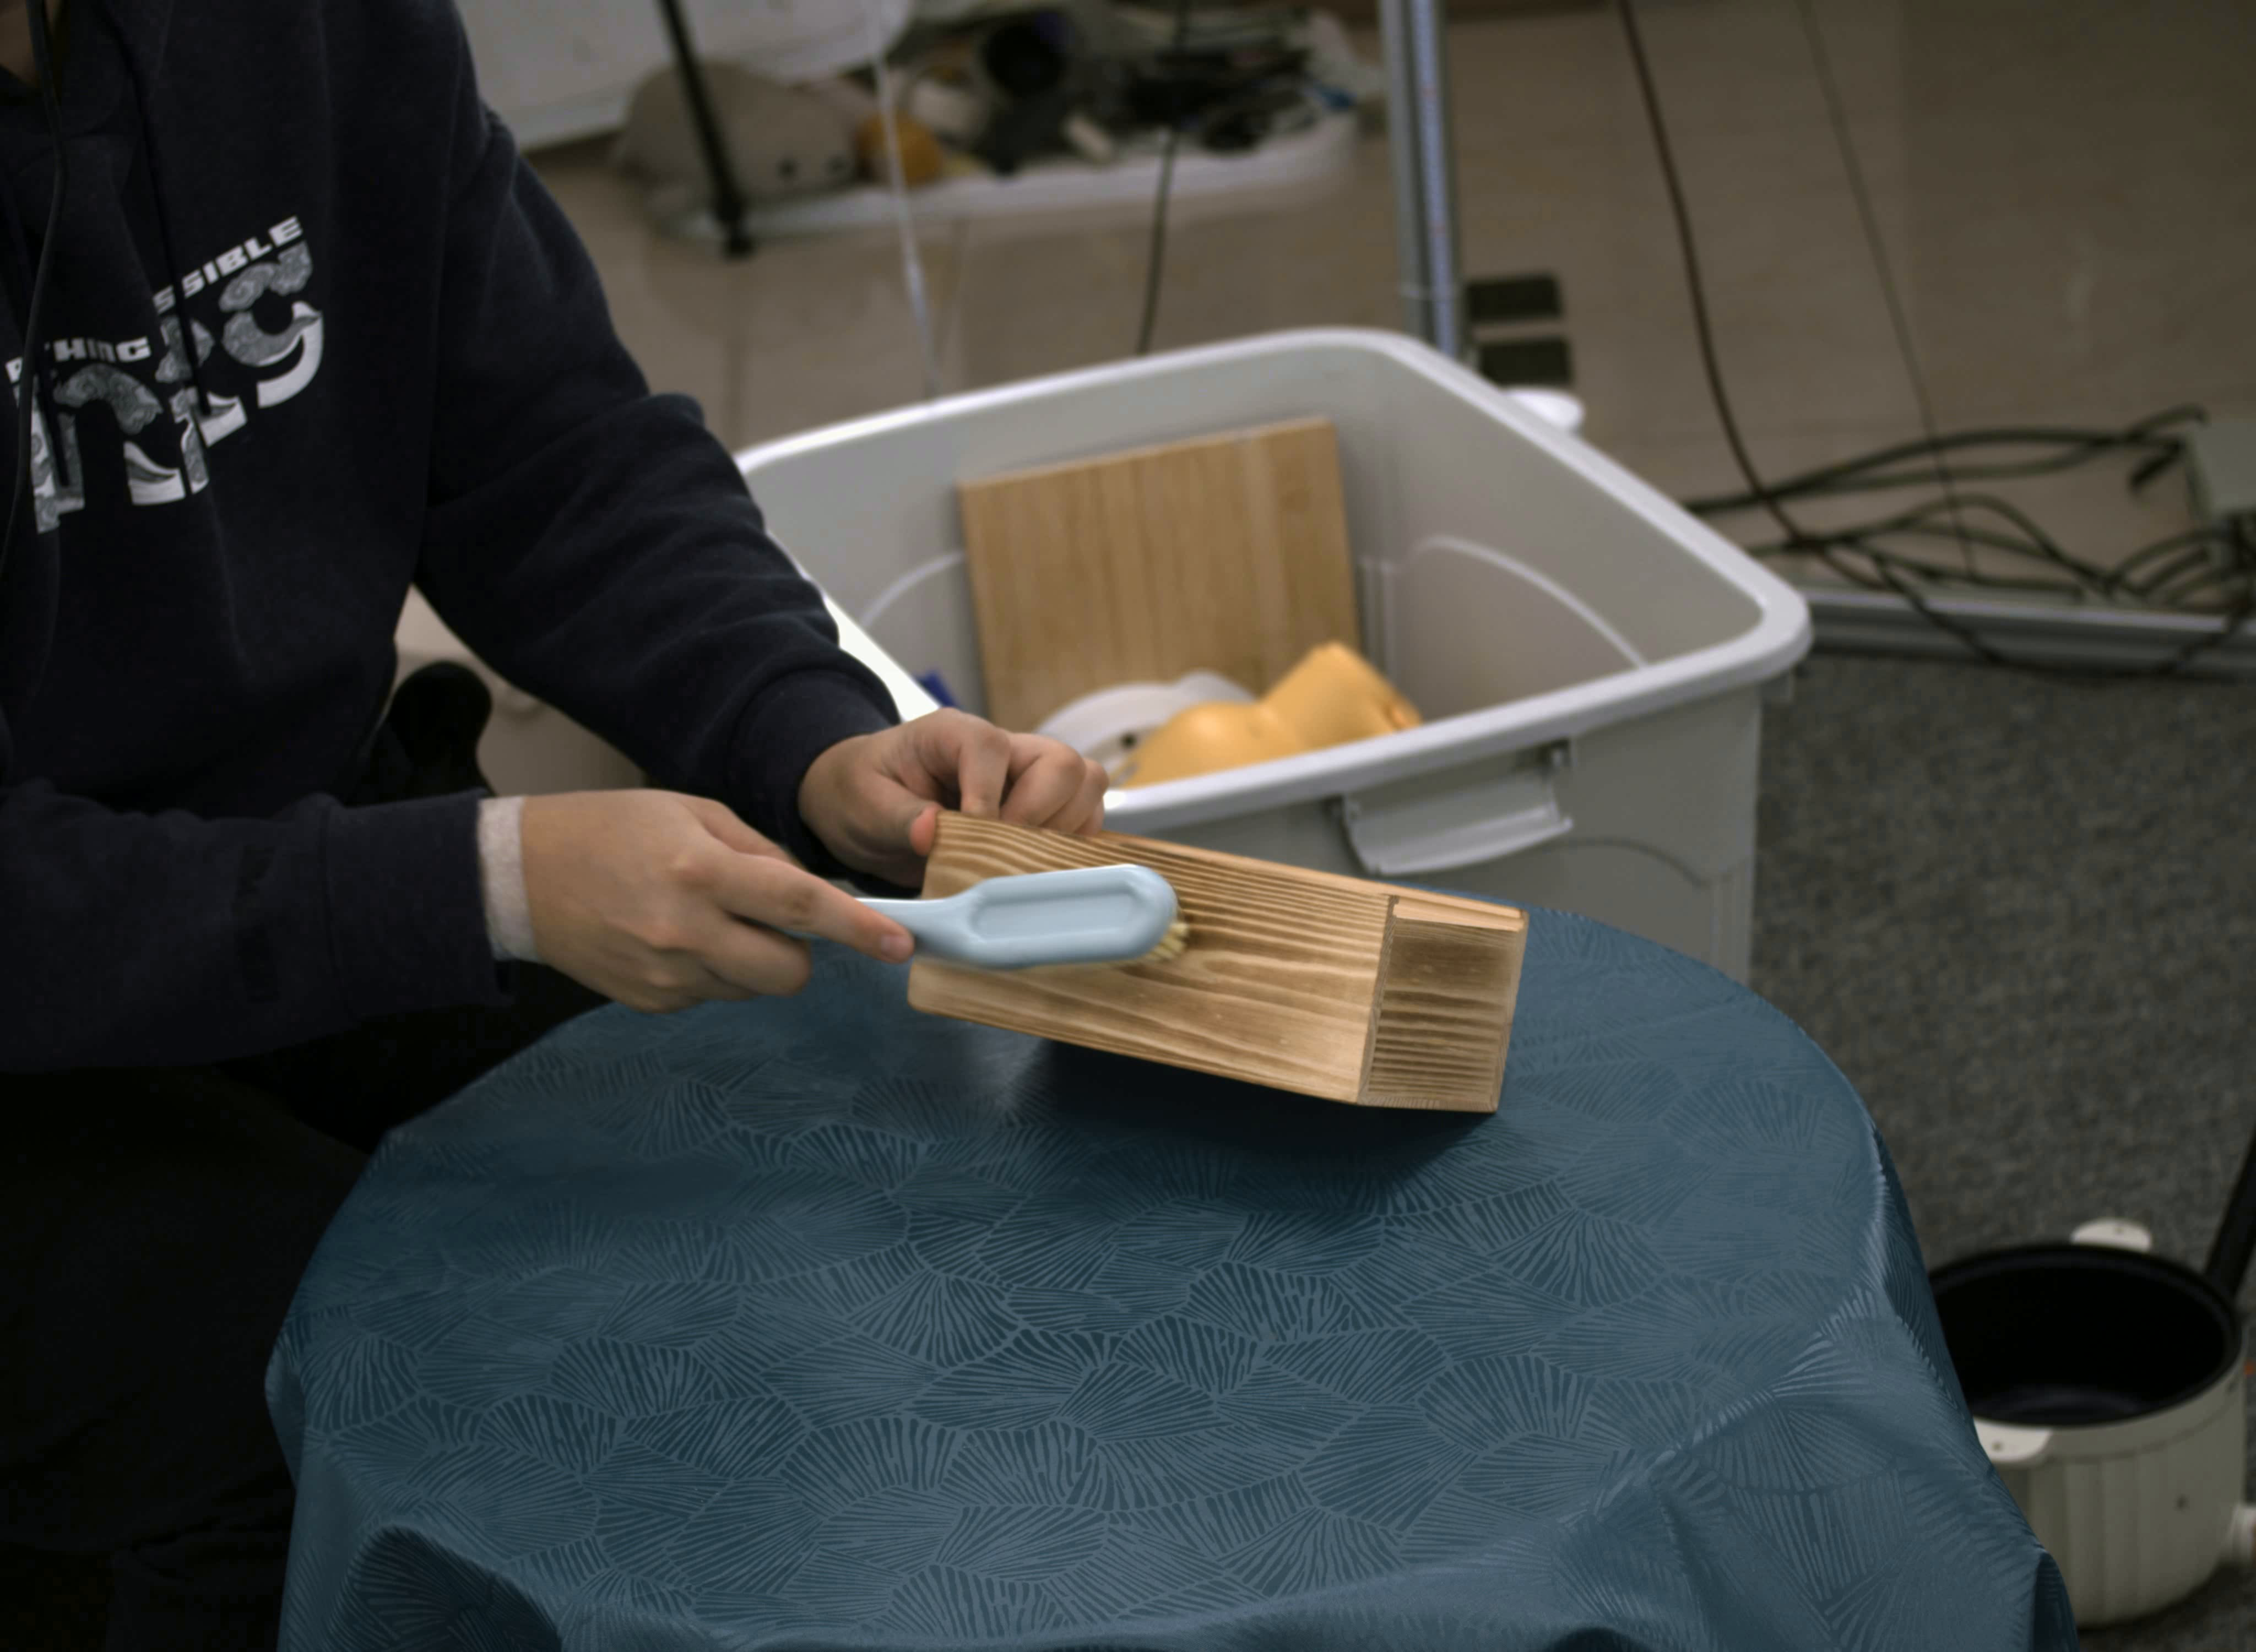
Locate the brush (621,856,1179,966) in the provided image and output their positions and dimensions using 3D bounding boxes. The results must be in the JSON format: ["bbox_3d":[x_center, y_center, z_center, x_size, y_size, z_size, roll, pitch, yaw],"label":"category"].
[{"bbox_3d":[-0.089,0.039,2.162,0.228,0.037,0.050,-5,-10,20],"label":"brush"}]

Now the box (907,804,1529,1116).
[{"bbox_3d":[0.033,0.051,2.188,0.210,0.080,0.108,12,3,33],"label":"box"}]
